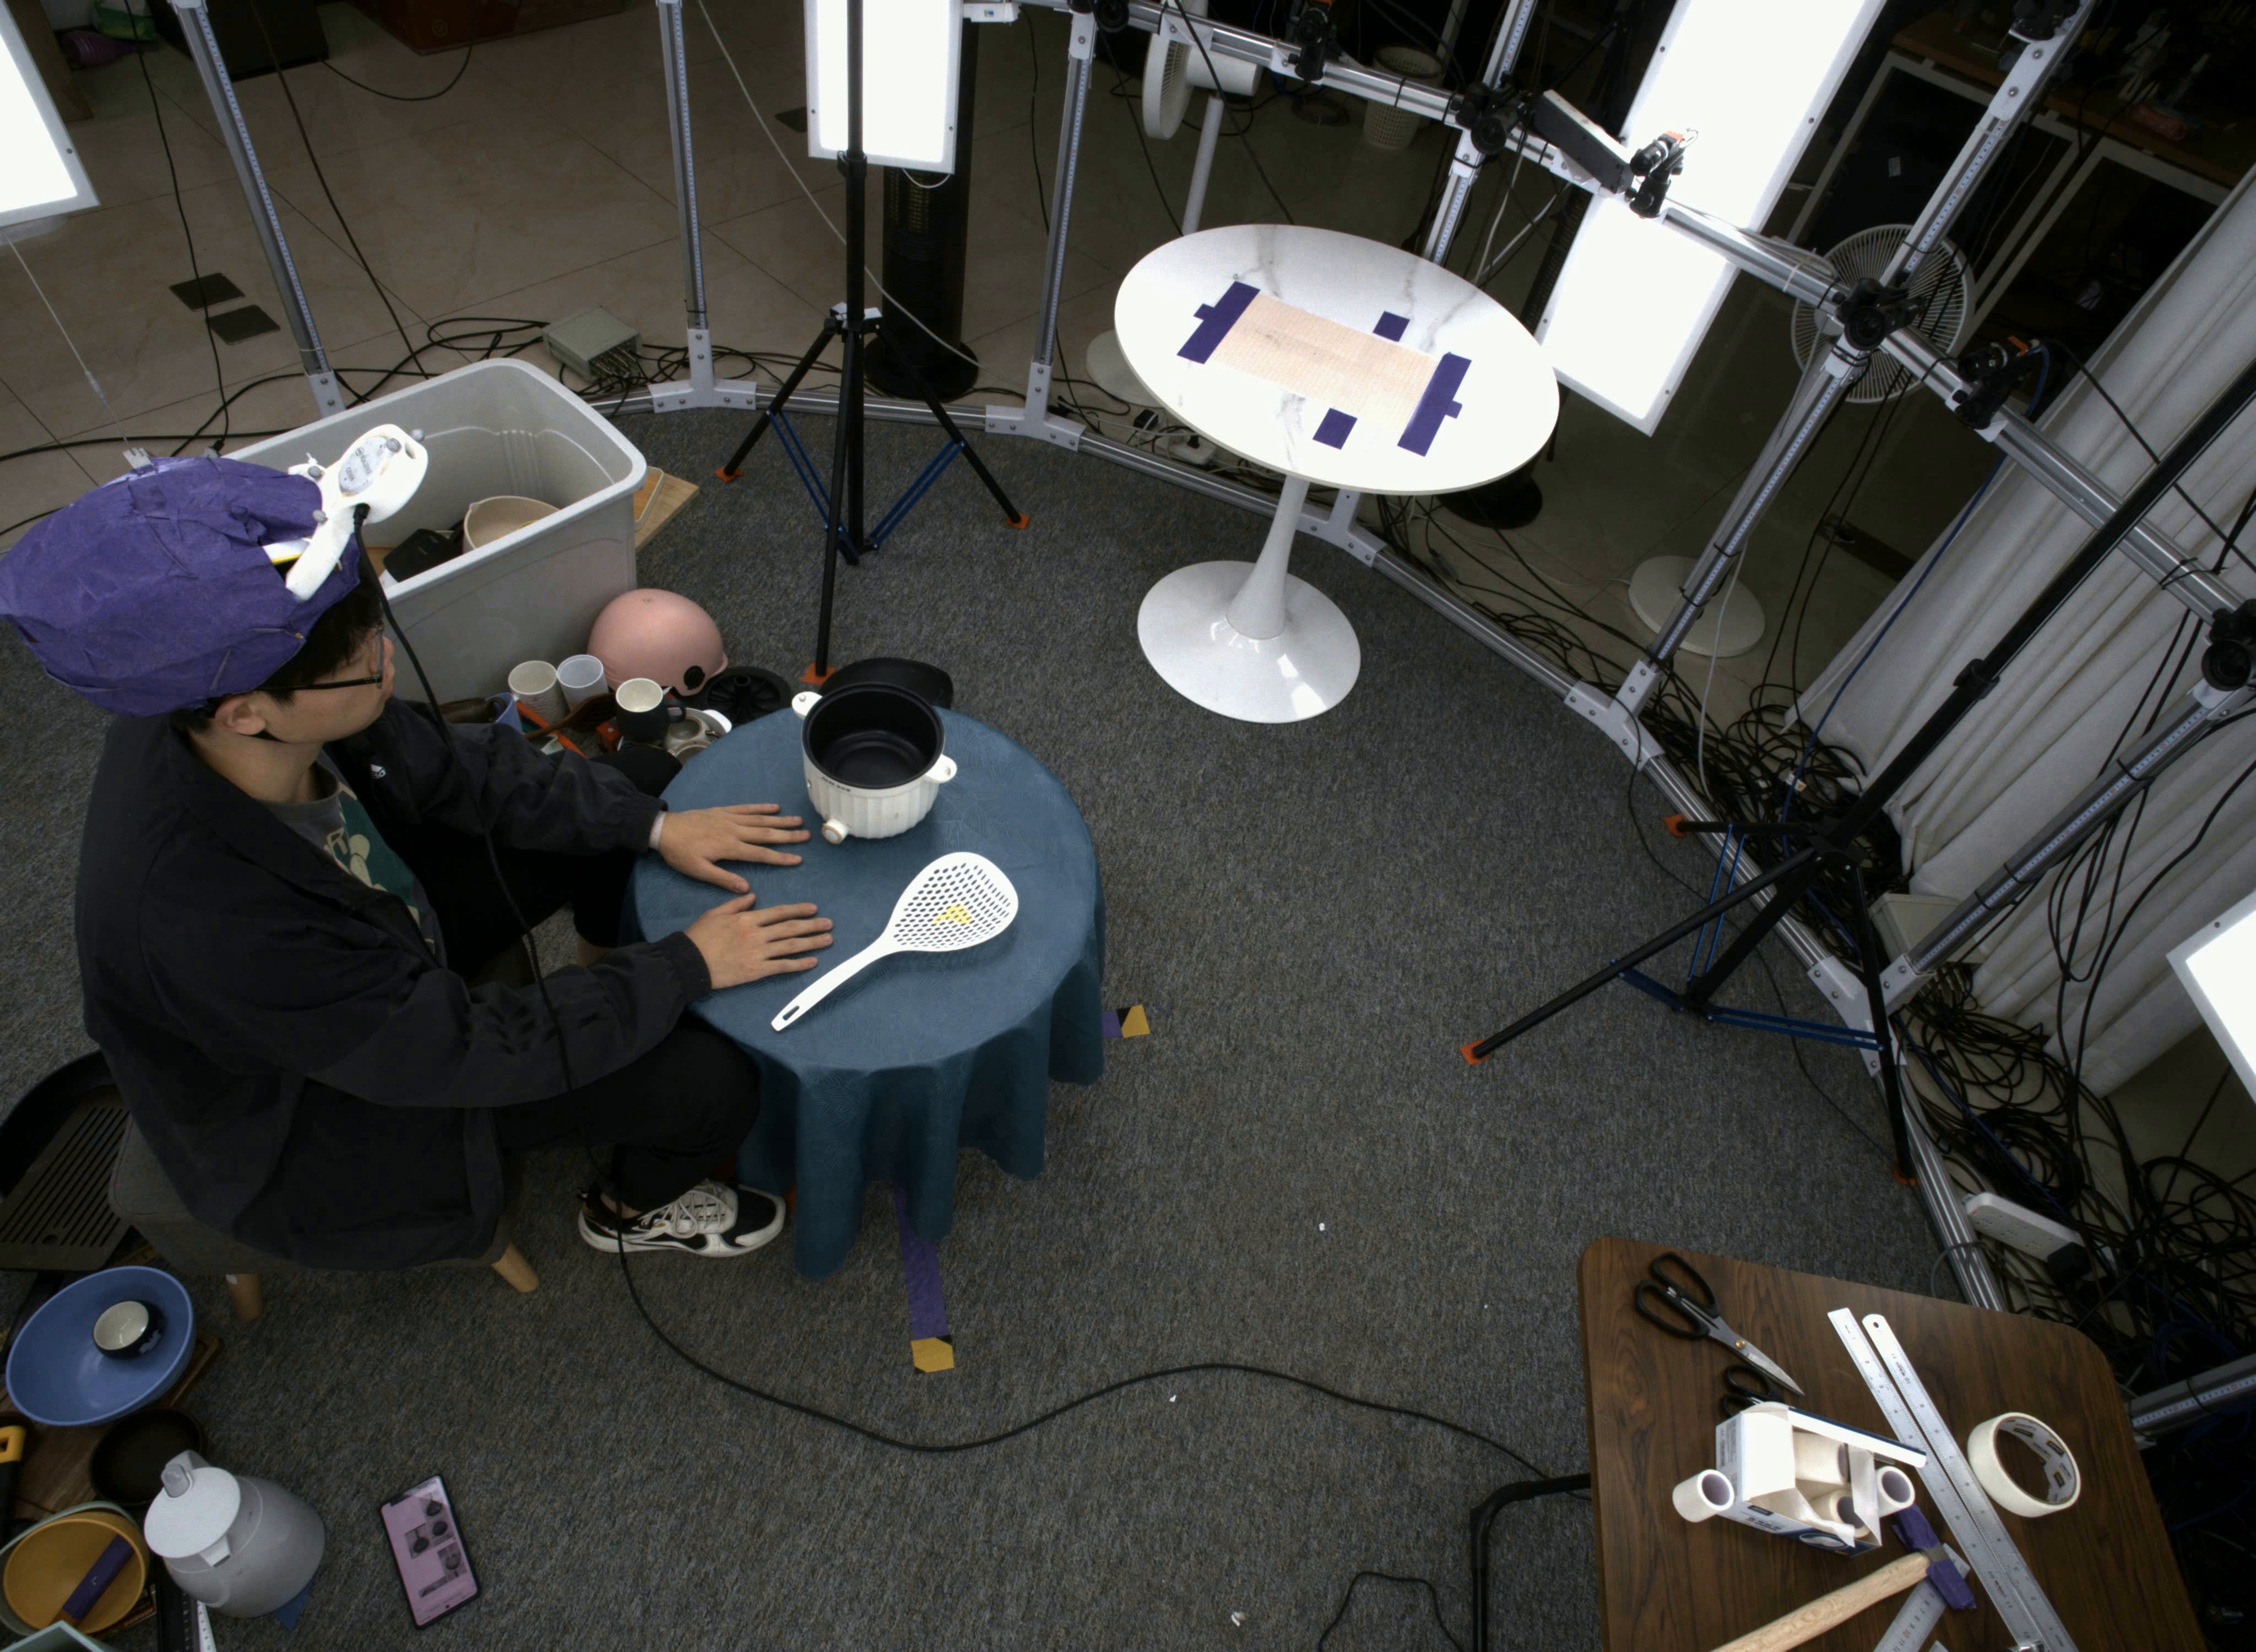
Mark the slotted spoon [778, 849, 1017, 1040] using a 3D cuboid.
[{"bbox_3d":[-0.292,0.149,1.620,0.349,0.051,0.134,-32,68,-31],"label":"slotted spoon"}]

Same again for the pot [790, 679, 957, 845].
[{"bbox_3d":[-0.338,-0.077,1.714,0.236,0.146,0.189,24,49,8],"label":"pot"}]
